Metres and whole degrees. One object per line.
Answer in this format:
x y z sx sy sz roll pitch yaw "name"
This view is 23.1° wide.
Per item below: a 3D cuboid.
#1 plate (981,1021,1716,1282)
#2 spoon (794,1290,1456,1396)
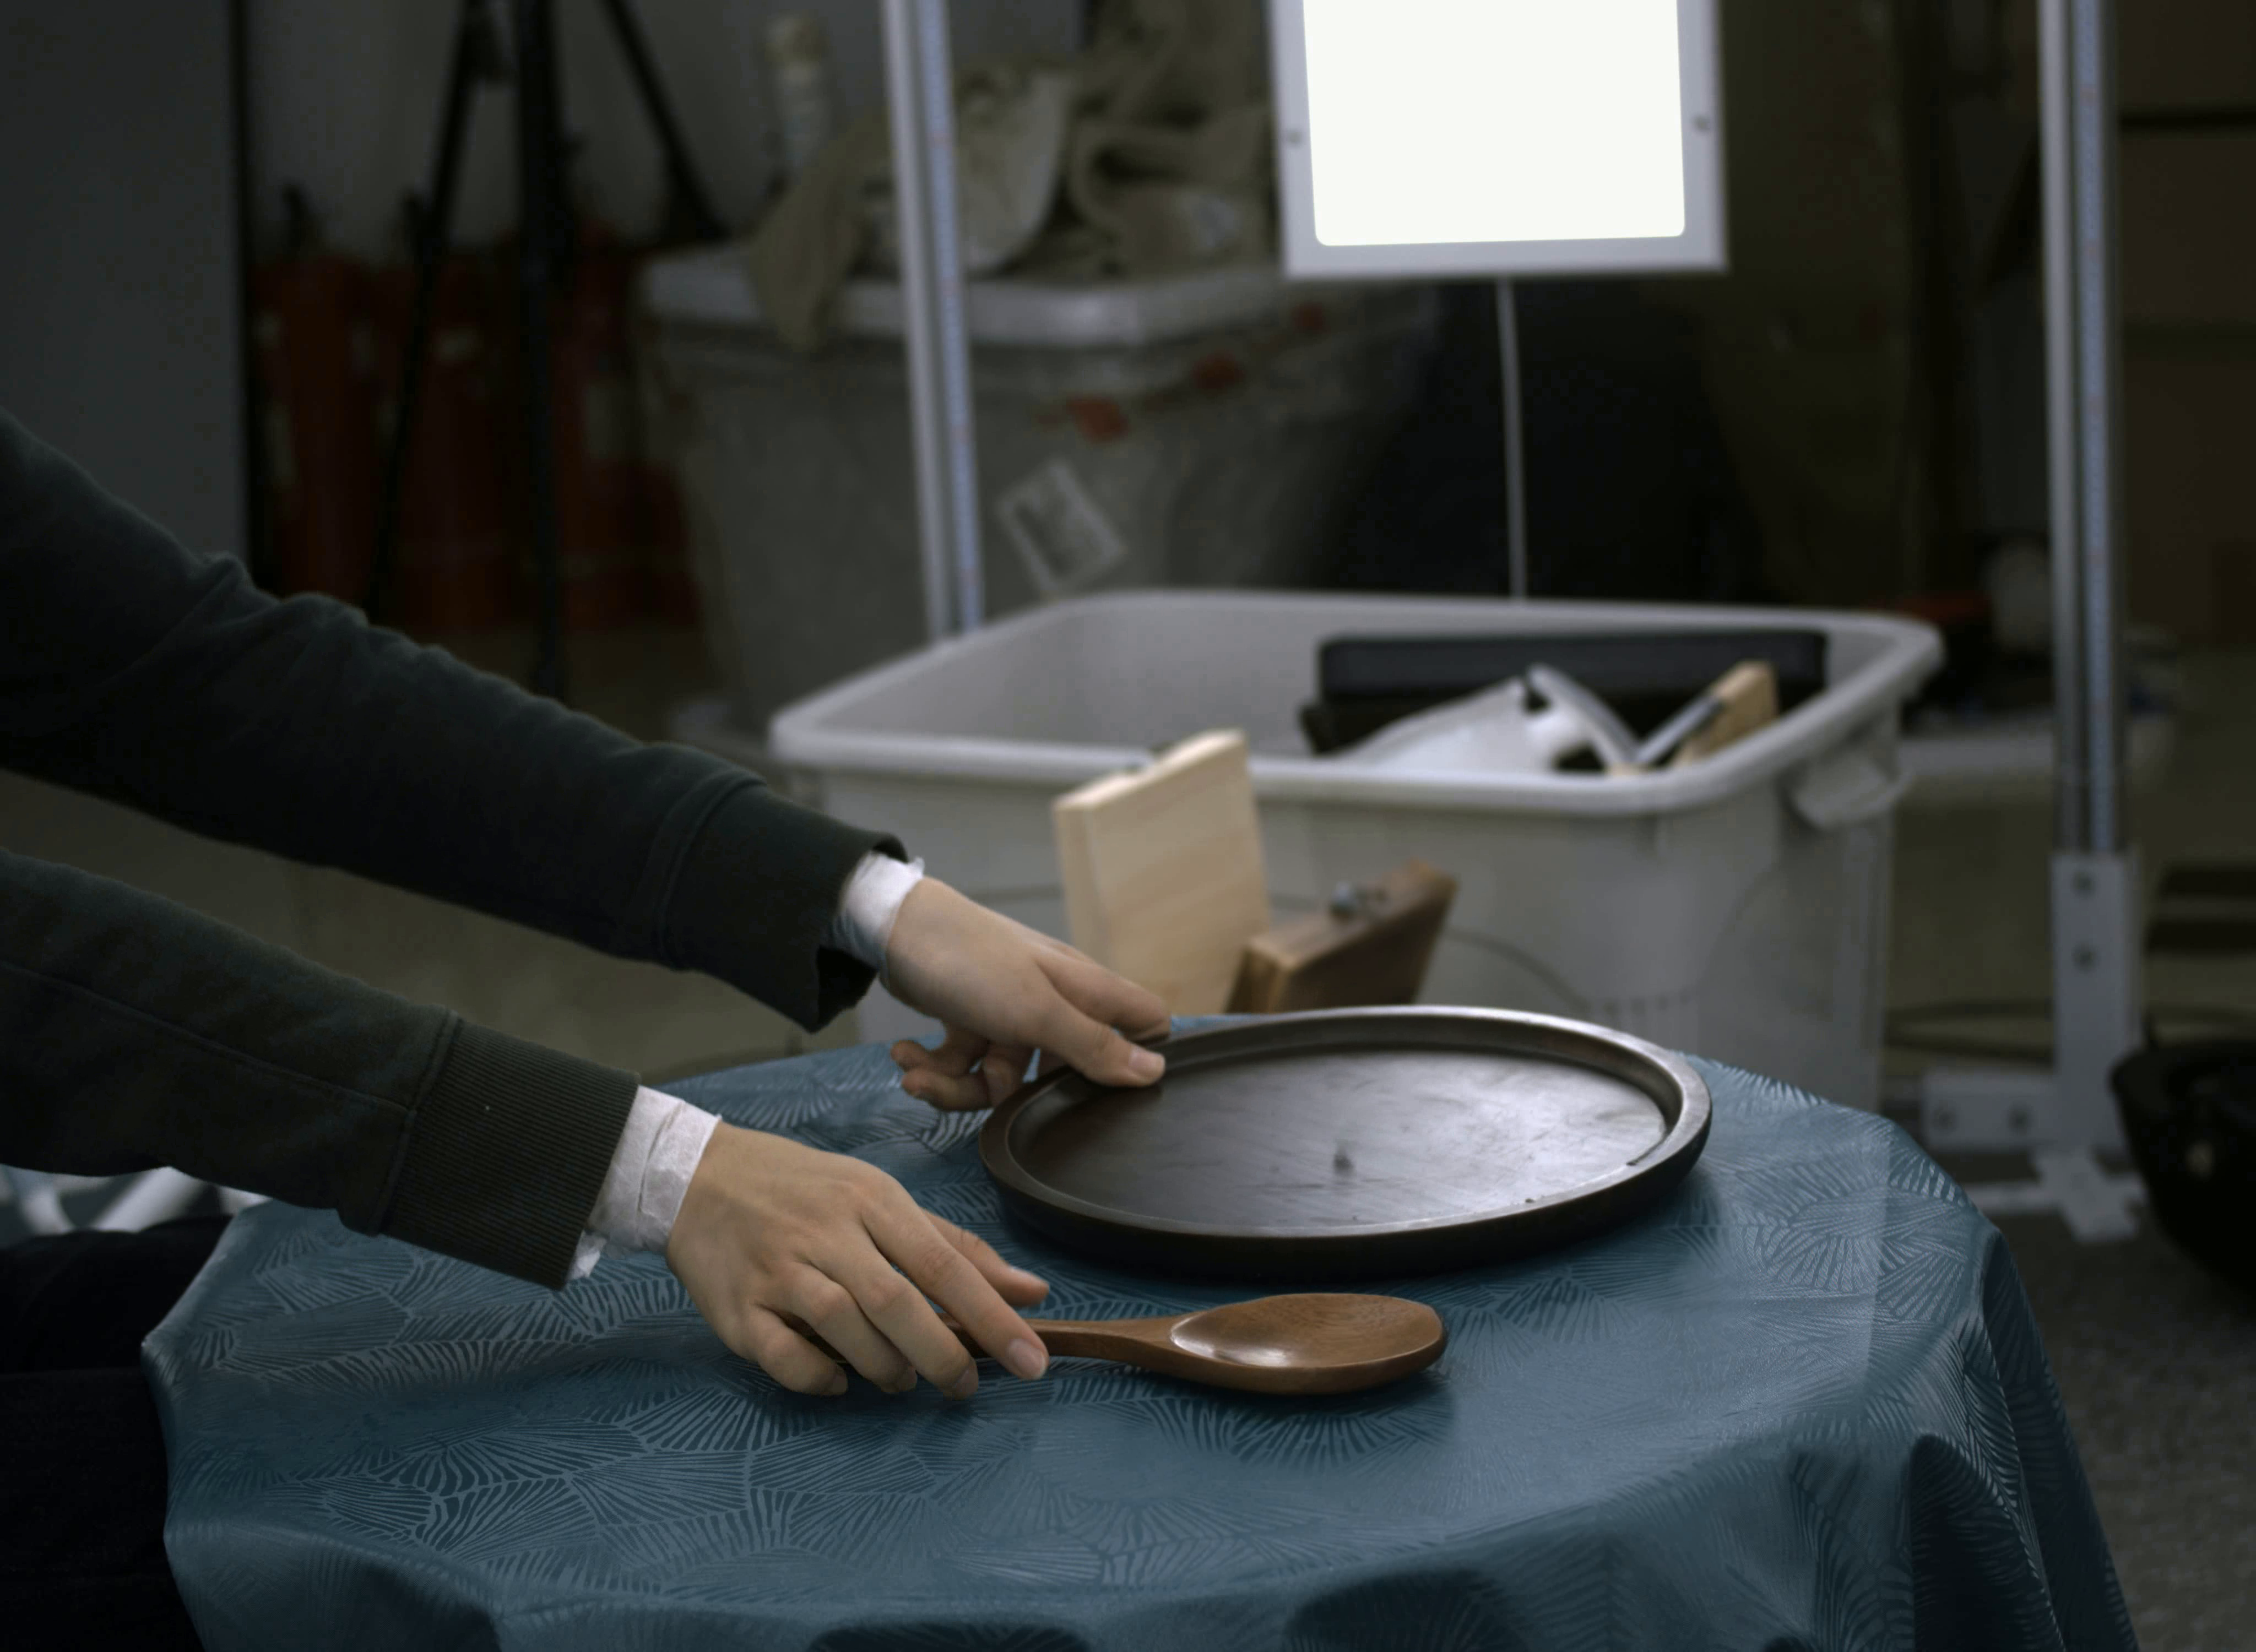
0.076 0.109 1.888 0.254 0.029 0.254 -3 14 0 "plate"
-0.002 0.161 1.721 0.218 0.017 0.074 0 15 20 "spoon"
